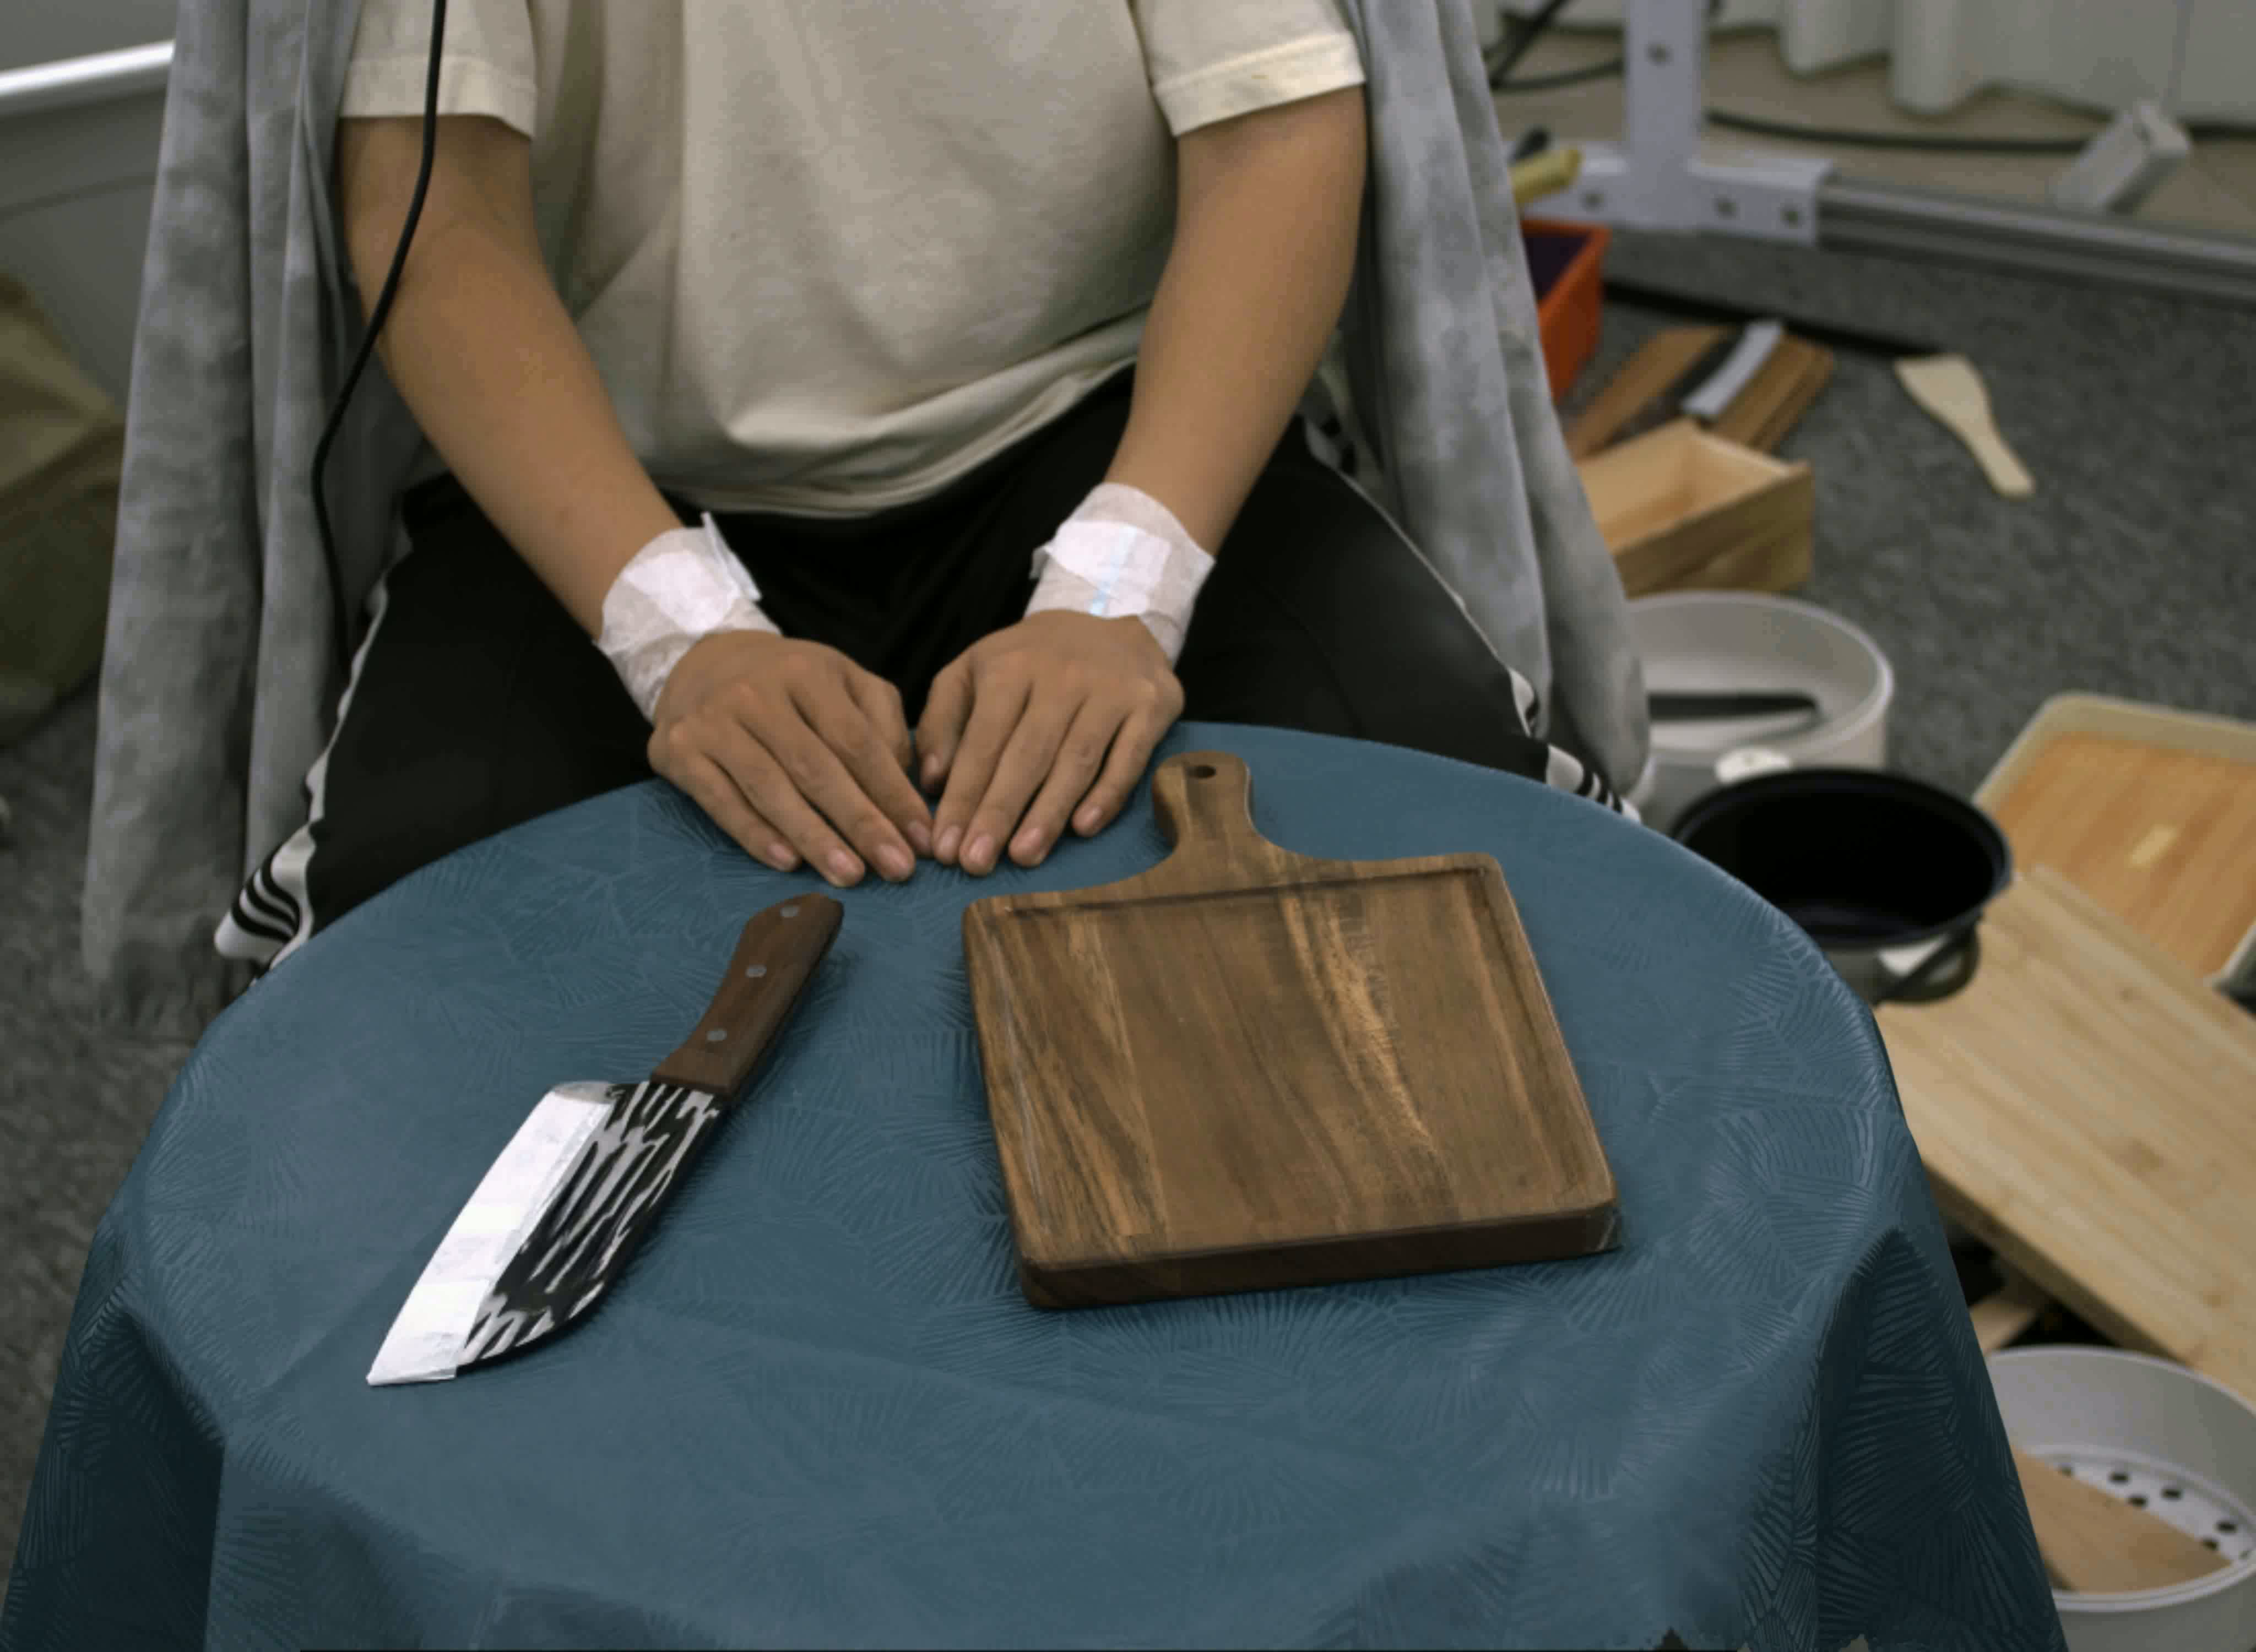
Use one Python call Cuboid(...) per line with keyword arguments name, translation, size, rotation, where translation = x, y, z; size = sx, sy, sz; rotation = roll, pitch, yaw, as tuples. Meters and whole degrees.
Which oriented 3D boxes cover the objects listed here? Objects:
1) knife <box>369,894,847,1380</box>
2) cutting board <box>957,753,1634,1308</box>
Cuboid(name="knife", translation=(-0.172, 0.103, 1.892), size=(0.067, 0.024, 0.305), rotation=(4, 30, 19))
Cuboid(name="cutting board", translation=(0.045, 0.059, 1.954), size=(0.200, 0.023, 0.357), rotation=(-5, 27, -5))
